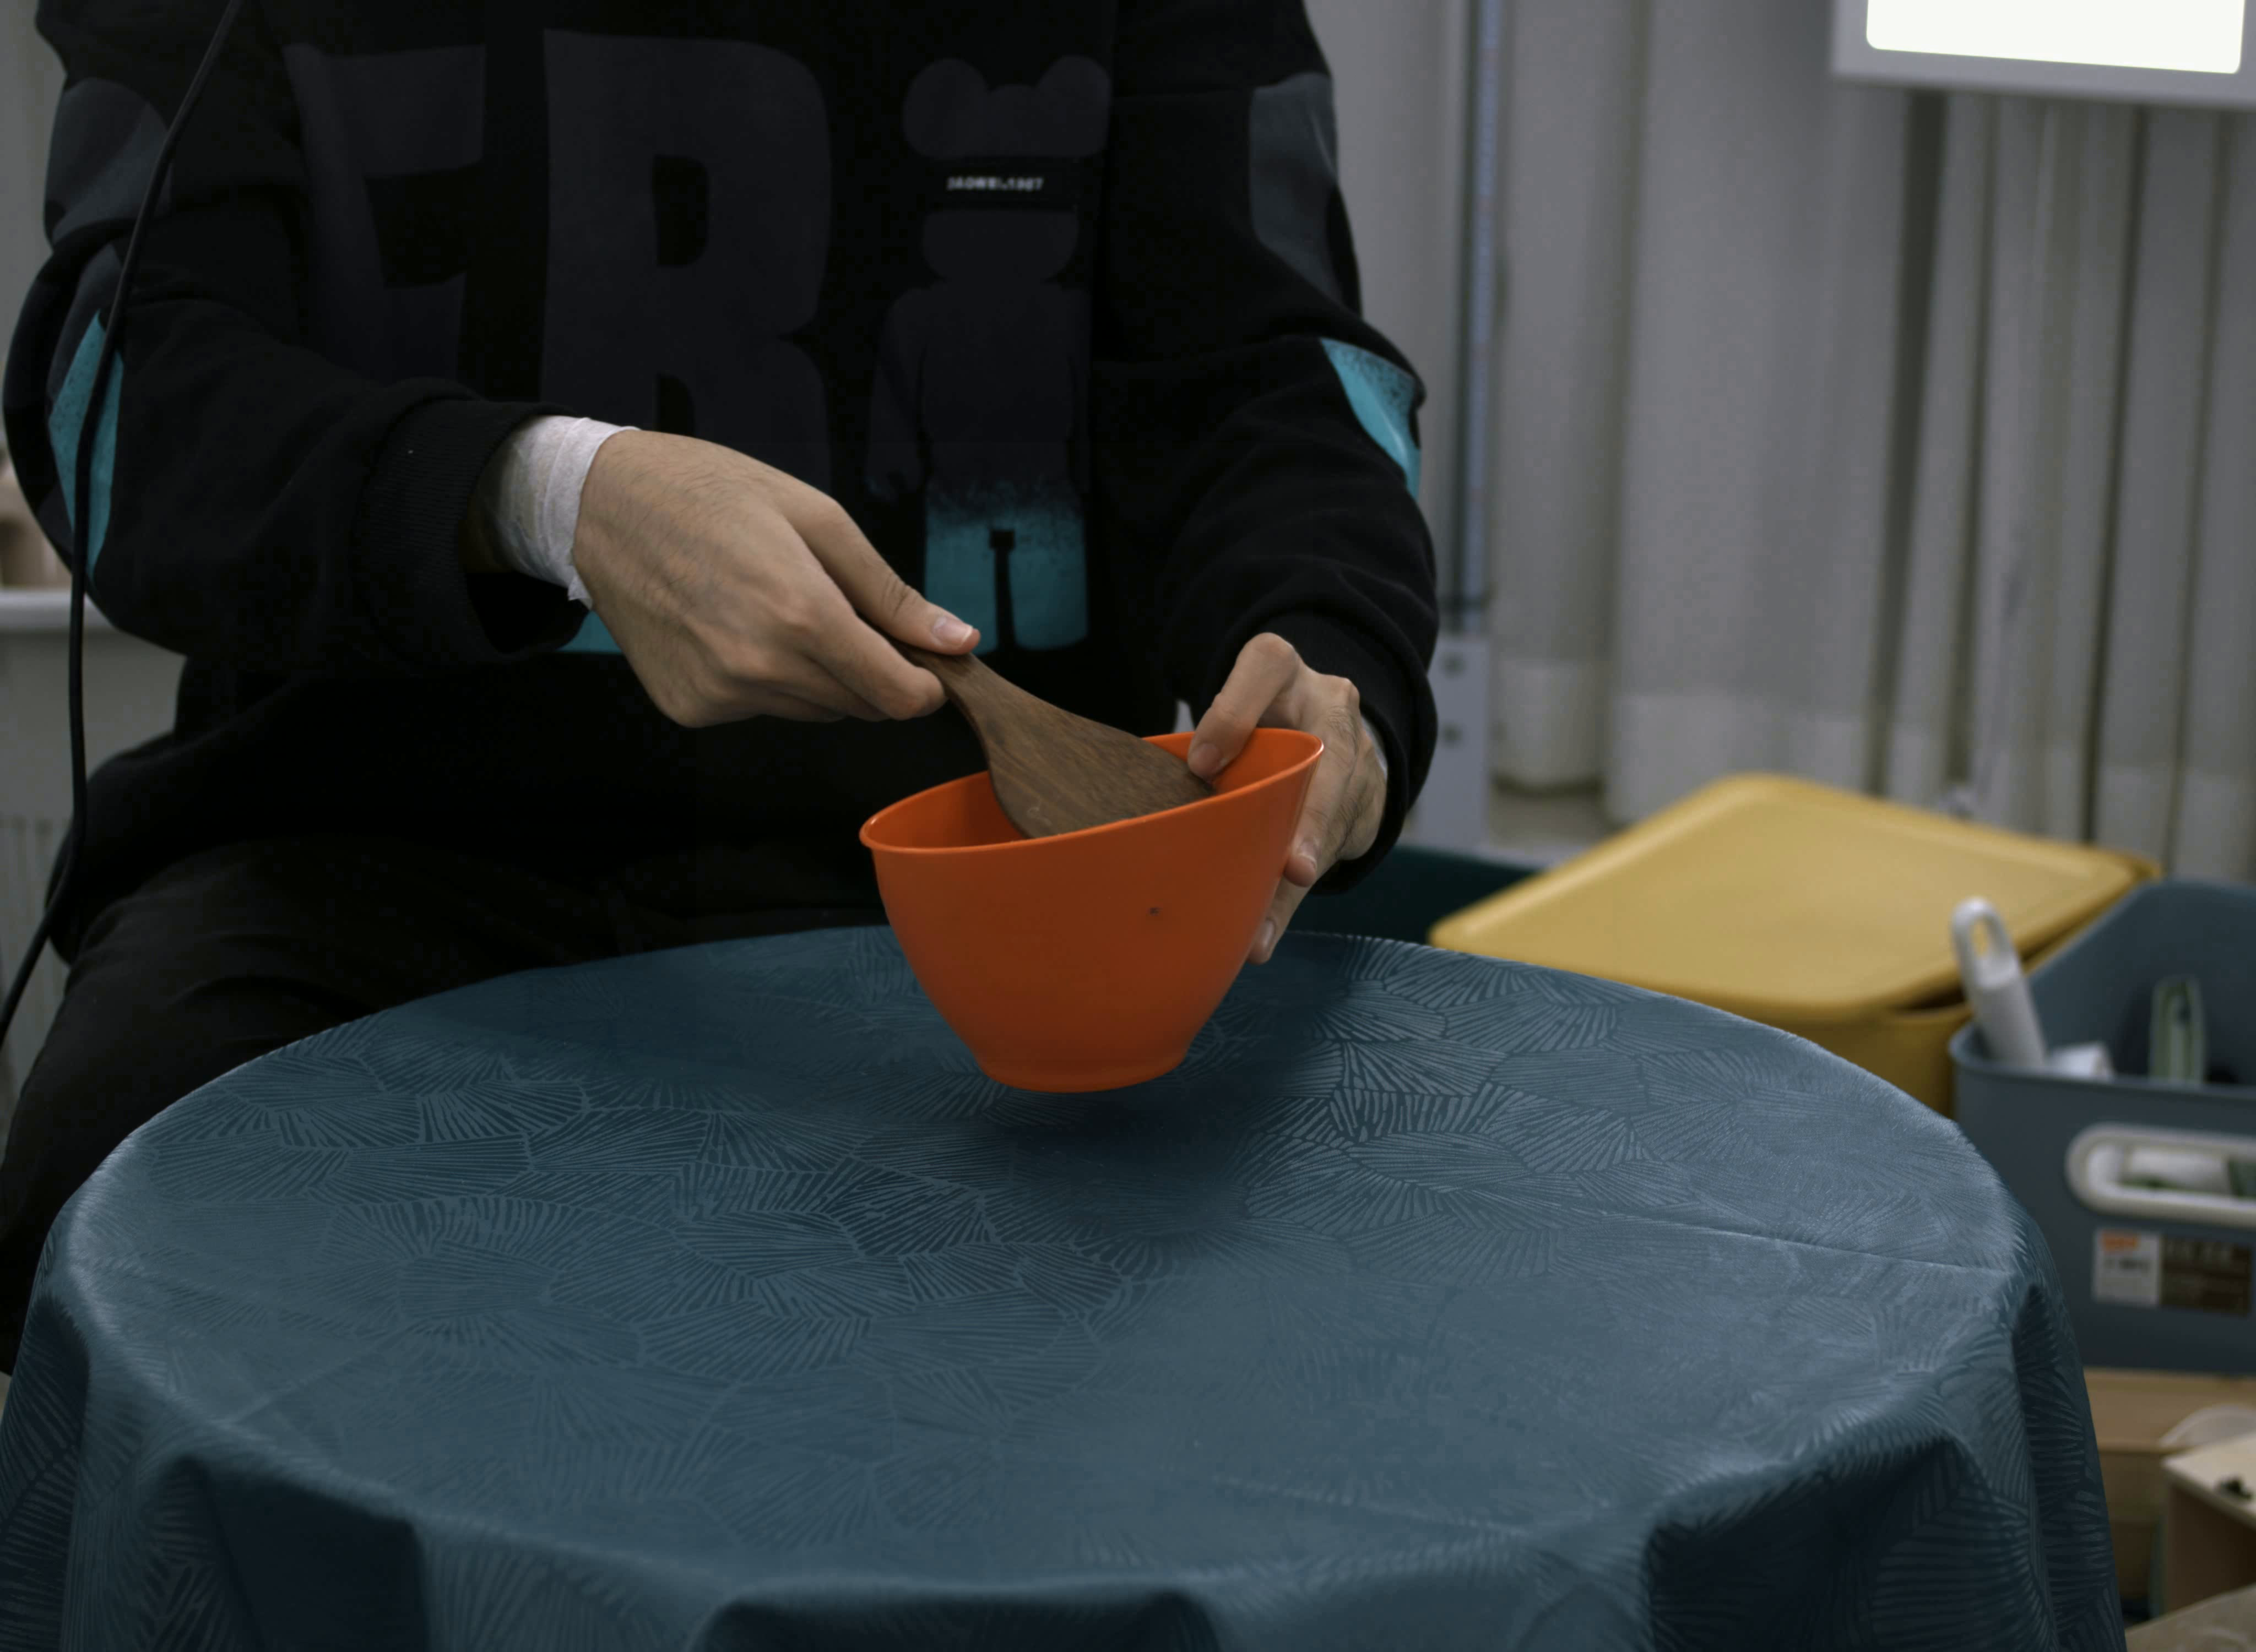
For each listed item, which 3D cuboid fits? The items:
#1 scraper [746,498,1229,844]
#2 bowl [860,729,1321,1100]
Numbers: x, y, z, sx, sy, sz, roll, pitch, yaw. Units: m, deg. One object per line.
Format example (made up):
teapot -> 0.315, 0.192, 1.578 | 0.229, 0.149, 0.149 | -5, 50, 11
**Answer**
scraper -> -0.052, -0.047, 1.720 | 0.076, 0.011, 0.209 | -23, 52, -38
bowl -> -0.009, 0.028, 1.661 | 0.147, 0.105, 0.147 | -5, 17, 2
